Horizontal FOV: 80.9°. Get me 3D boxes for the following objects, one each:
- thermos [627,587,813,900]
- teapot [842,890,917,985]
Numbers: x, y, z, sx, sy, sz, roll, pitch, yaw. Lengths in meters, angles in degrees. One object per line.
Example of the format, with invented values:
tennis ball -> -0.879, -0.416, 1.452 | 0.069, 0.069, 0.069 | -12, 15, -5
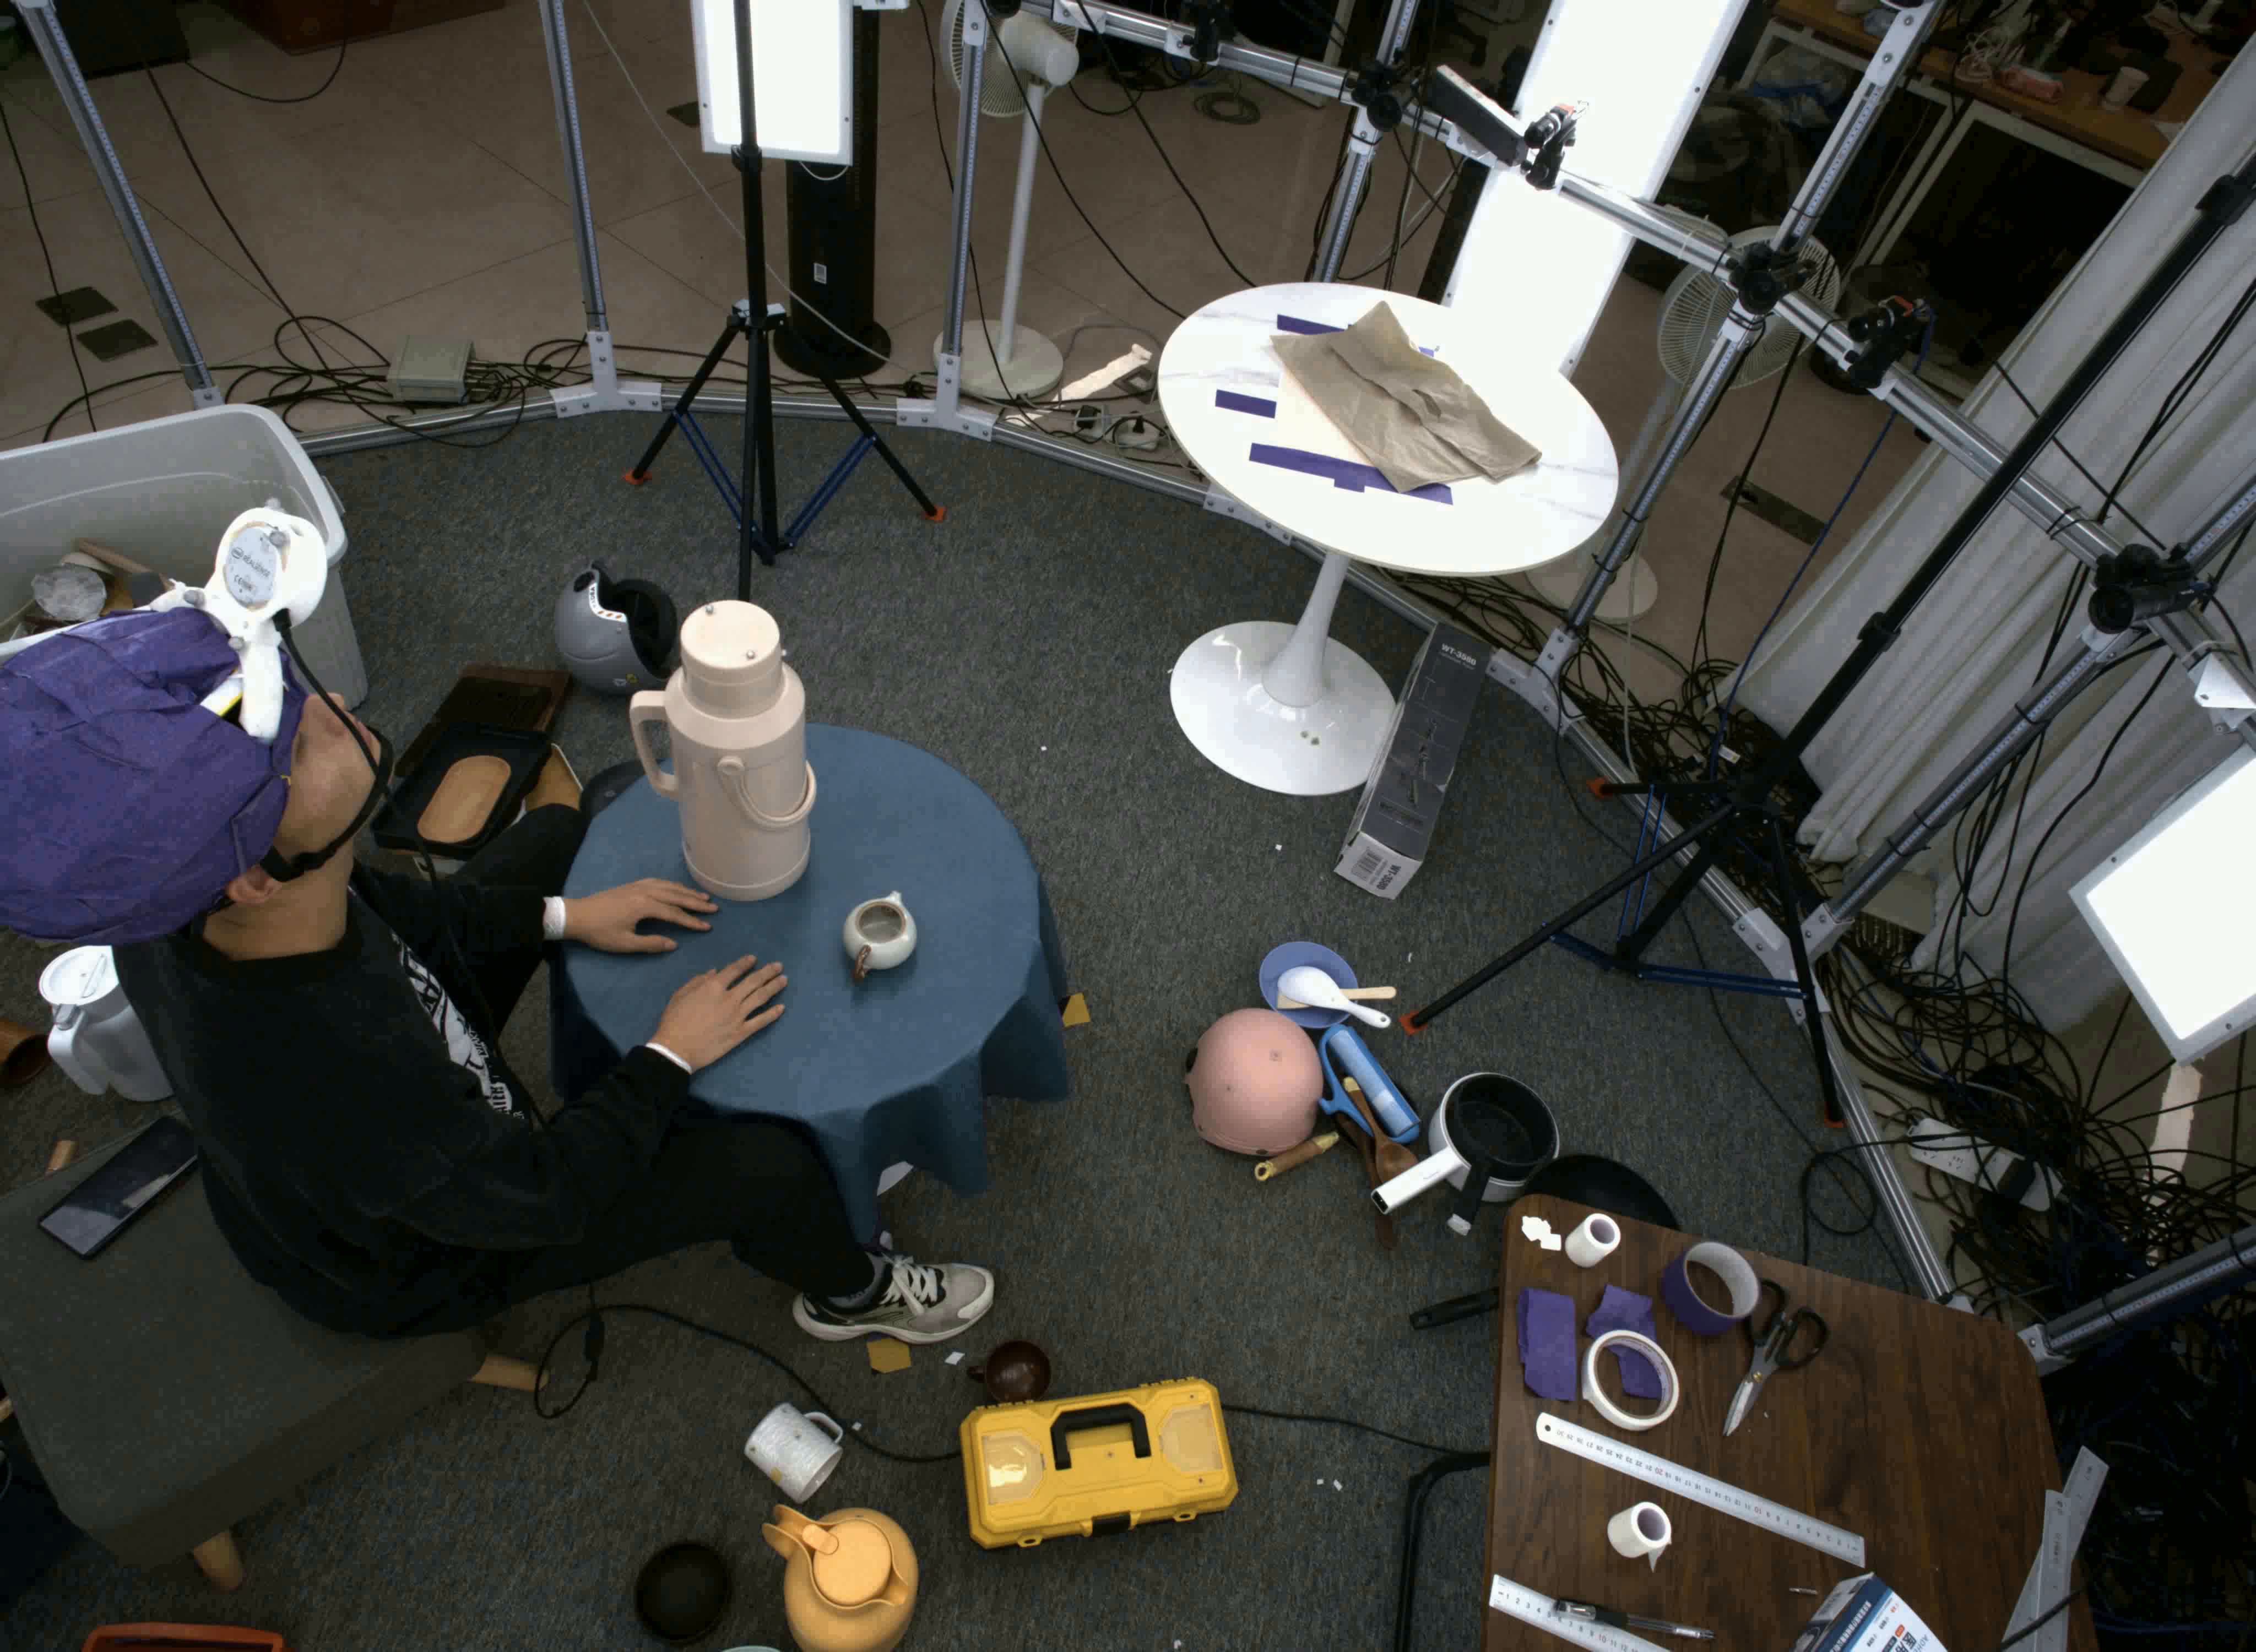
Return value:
thermos -> -0.478, -0.094, 1.521 | 0.207, 0.414, 0.171 | -1, 54, -13
teapot -> -0.311, 0.139, 1.609 | 0.091, 0.060, 0.126 | 20, 50, -1
